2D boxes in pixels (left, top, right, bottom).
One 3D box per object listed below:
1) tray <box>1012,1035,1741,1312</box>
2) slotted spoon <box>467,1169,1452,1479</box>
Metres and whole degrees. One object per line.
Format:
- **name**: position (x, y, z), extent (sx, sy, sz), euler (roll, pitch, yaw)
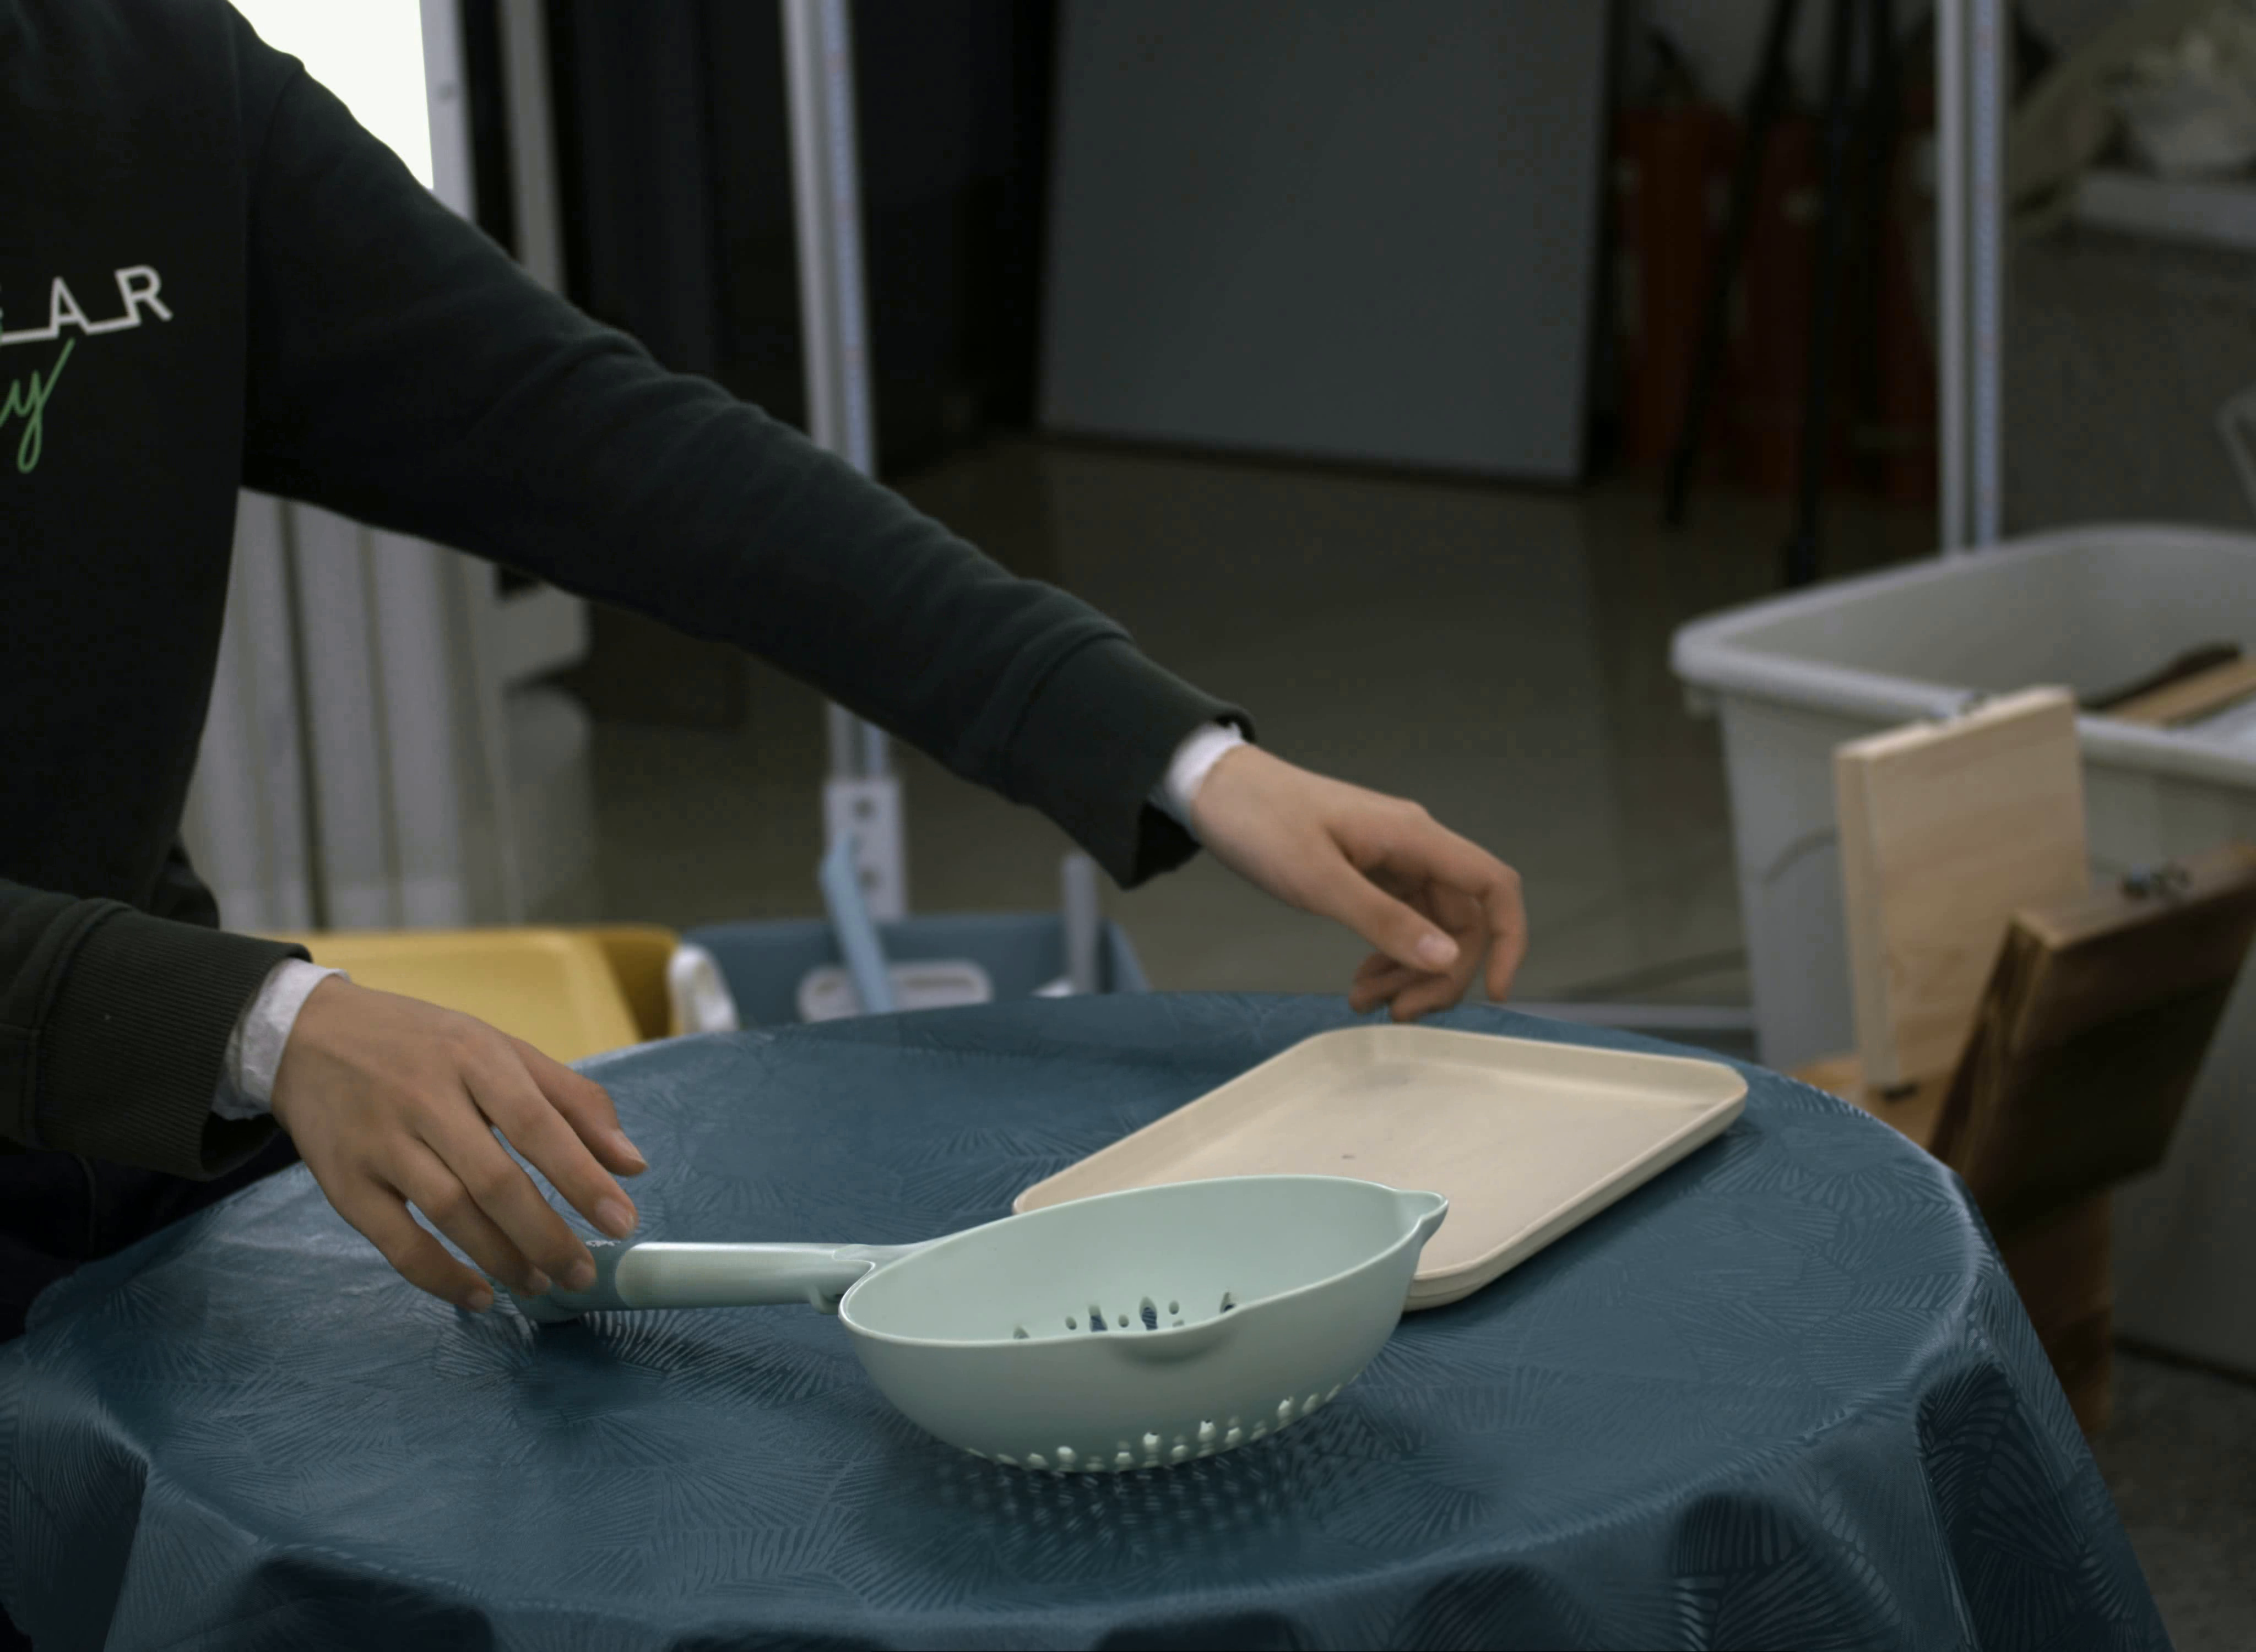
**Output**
- **tray**: position (0.084, 0.112, 1.751), extent (0.172, 0.017, 0.236), euler (5, 16, 32)
- **slotted spoon**: position (-0.070, 0.138, 1.591), extent (0.361, 0.076, 0.166), euler (7, 17, 39)
